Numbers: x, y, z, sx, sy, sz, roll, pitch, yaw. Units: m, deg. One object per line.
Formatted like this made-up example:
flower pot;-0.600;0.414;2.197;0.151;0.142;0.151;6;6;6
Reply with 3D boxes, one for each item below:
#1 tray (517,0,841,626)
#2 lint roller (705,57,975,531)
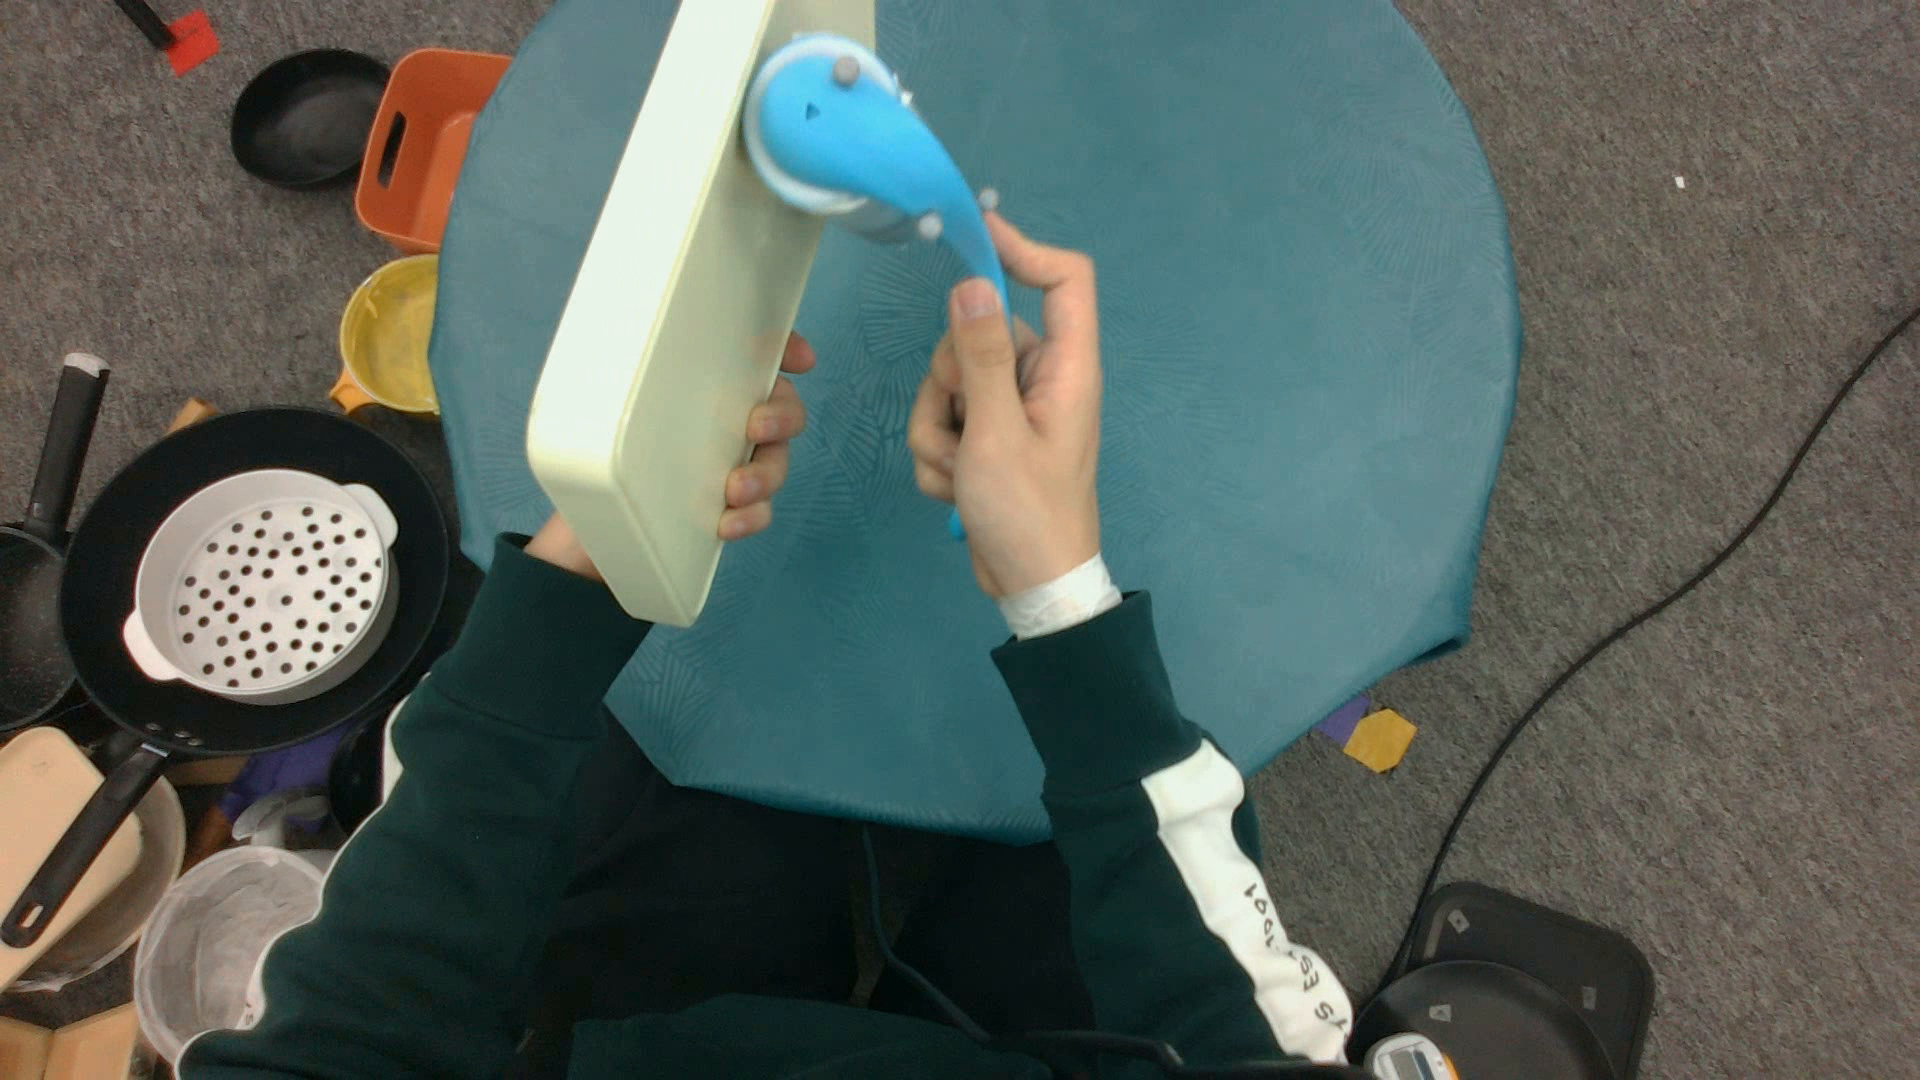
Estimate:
tray;-0.093;-0.130;0.531;0.027;0.191;0.301;12;71;1
lint roller;-0.026;-0.097;0.554;0.068;0.229;0.180;-26;101;5
